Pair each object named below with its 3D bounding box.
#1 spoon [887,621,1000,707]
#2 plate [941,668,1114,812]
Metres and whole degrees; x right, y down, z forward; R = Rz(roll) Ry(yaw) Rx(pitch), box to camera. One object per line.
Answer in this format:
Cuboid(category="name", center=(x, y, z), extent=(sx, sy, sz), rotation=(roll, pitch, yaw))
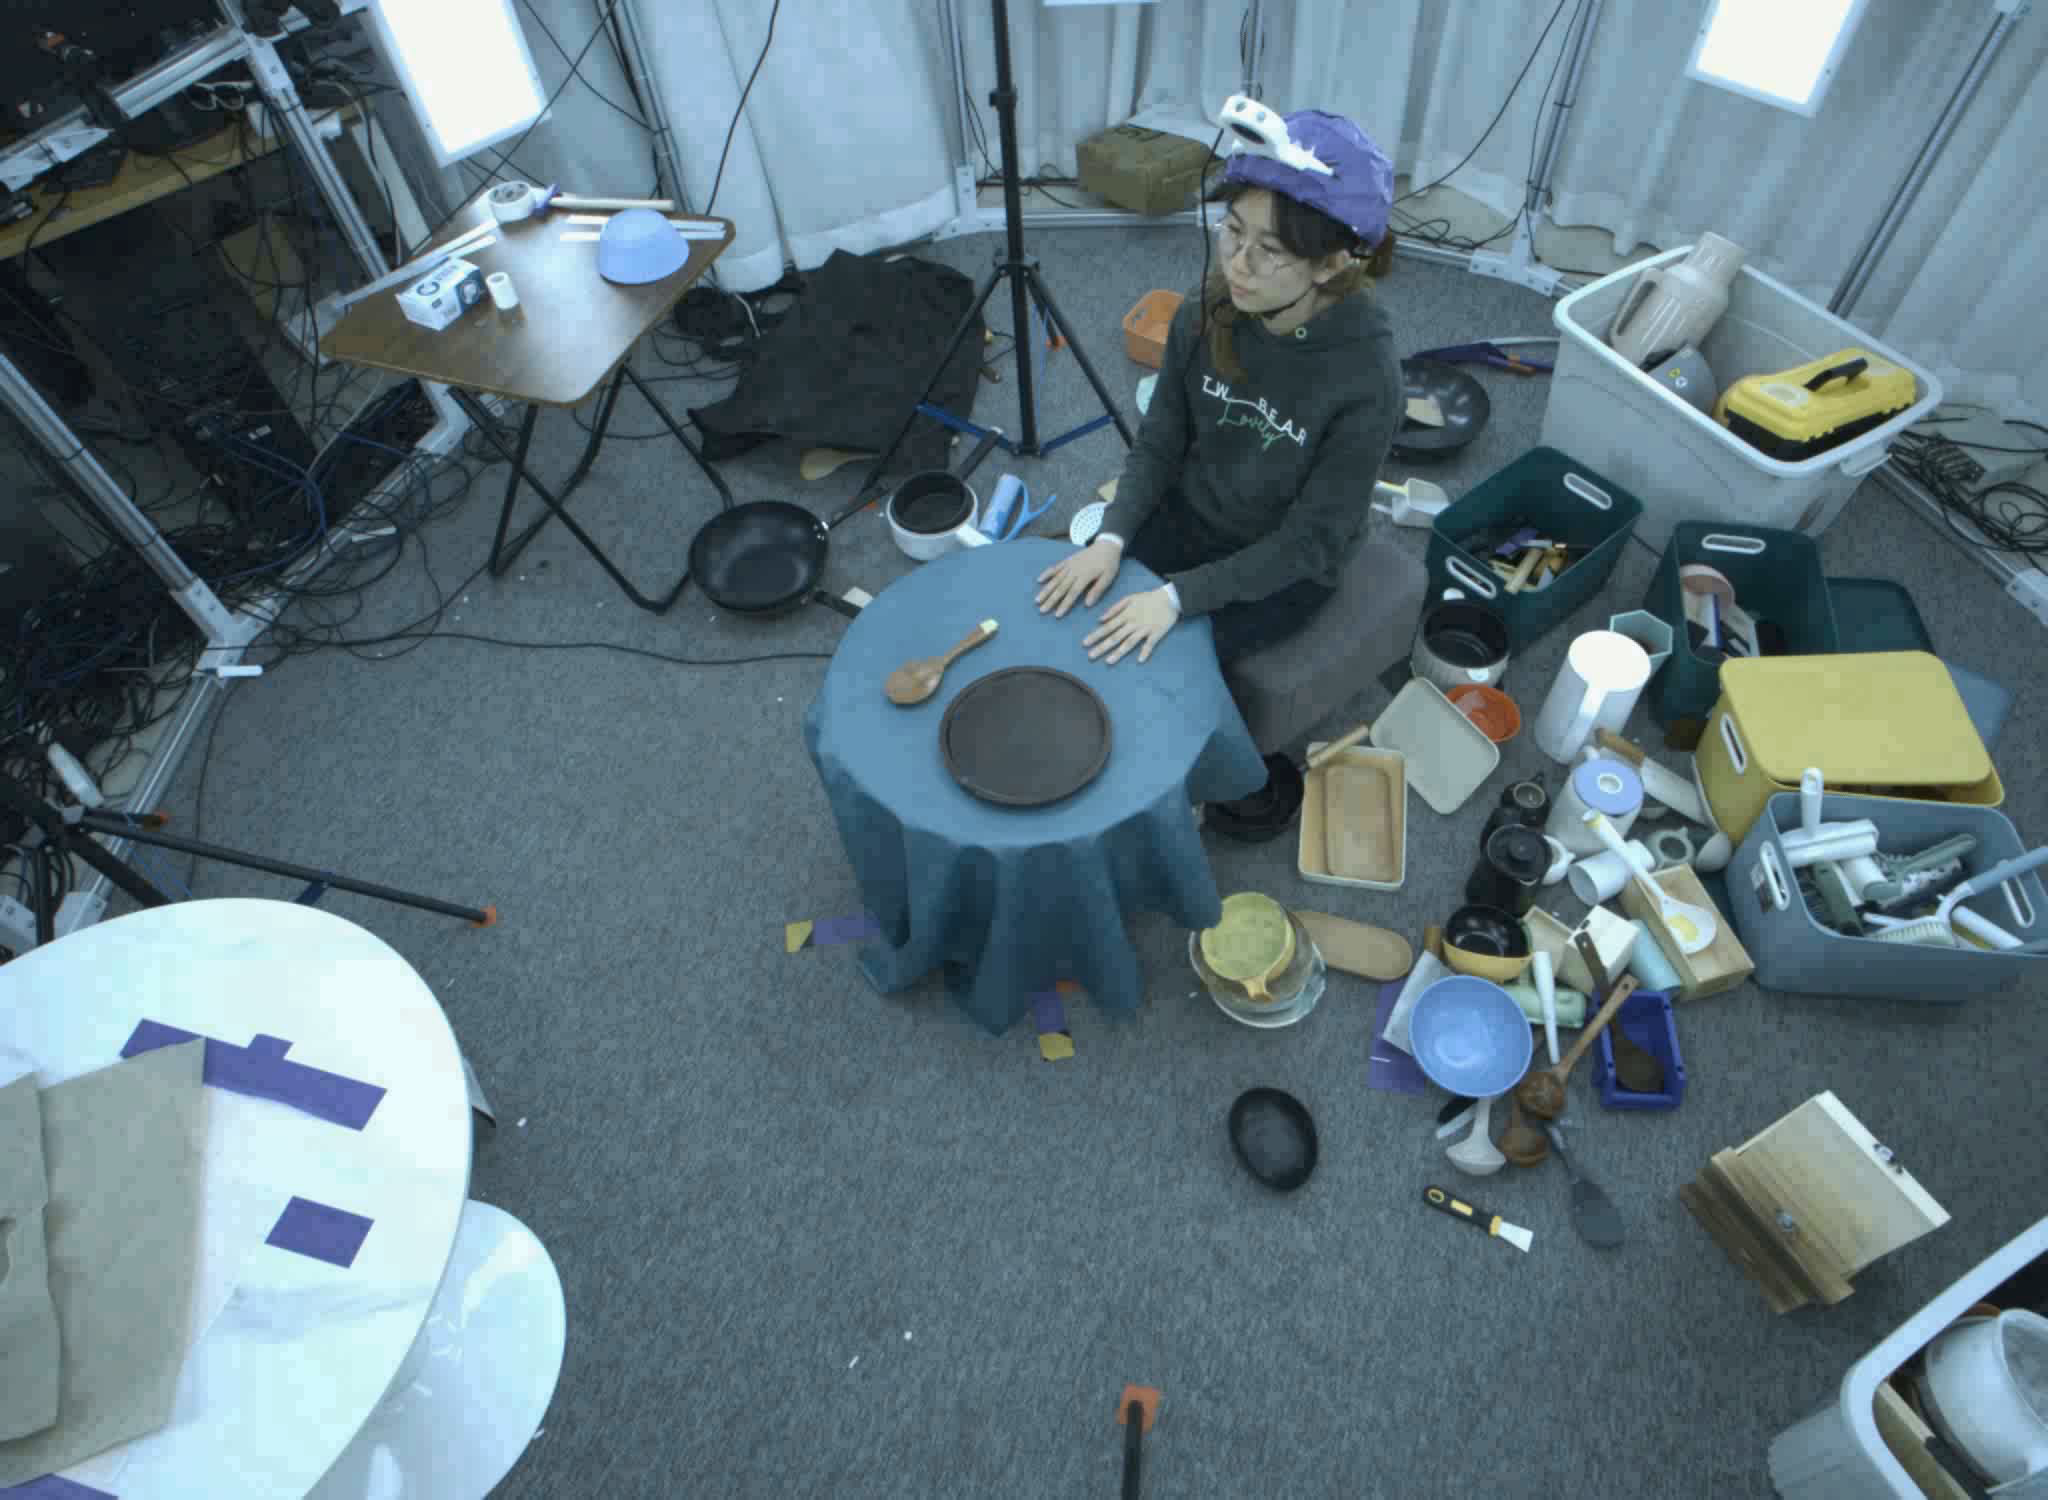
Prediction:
Cuboid(category="spoon", center=(-0.119, -0.133, 1.884), extent=(0.217, 0.017, 0.074), rotation=(-40, 63, -23))
Cuboid(category="plate", center=(0.005, -0.016, 1.795), extent=(0.255, 0.029, 0.252), rotation=(0, 56, 1))
